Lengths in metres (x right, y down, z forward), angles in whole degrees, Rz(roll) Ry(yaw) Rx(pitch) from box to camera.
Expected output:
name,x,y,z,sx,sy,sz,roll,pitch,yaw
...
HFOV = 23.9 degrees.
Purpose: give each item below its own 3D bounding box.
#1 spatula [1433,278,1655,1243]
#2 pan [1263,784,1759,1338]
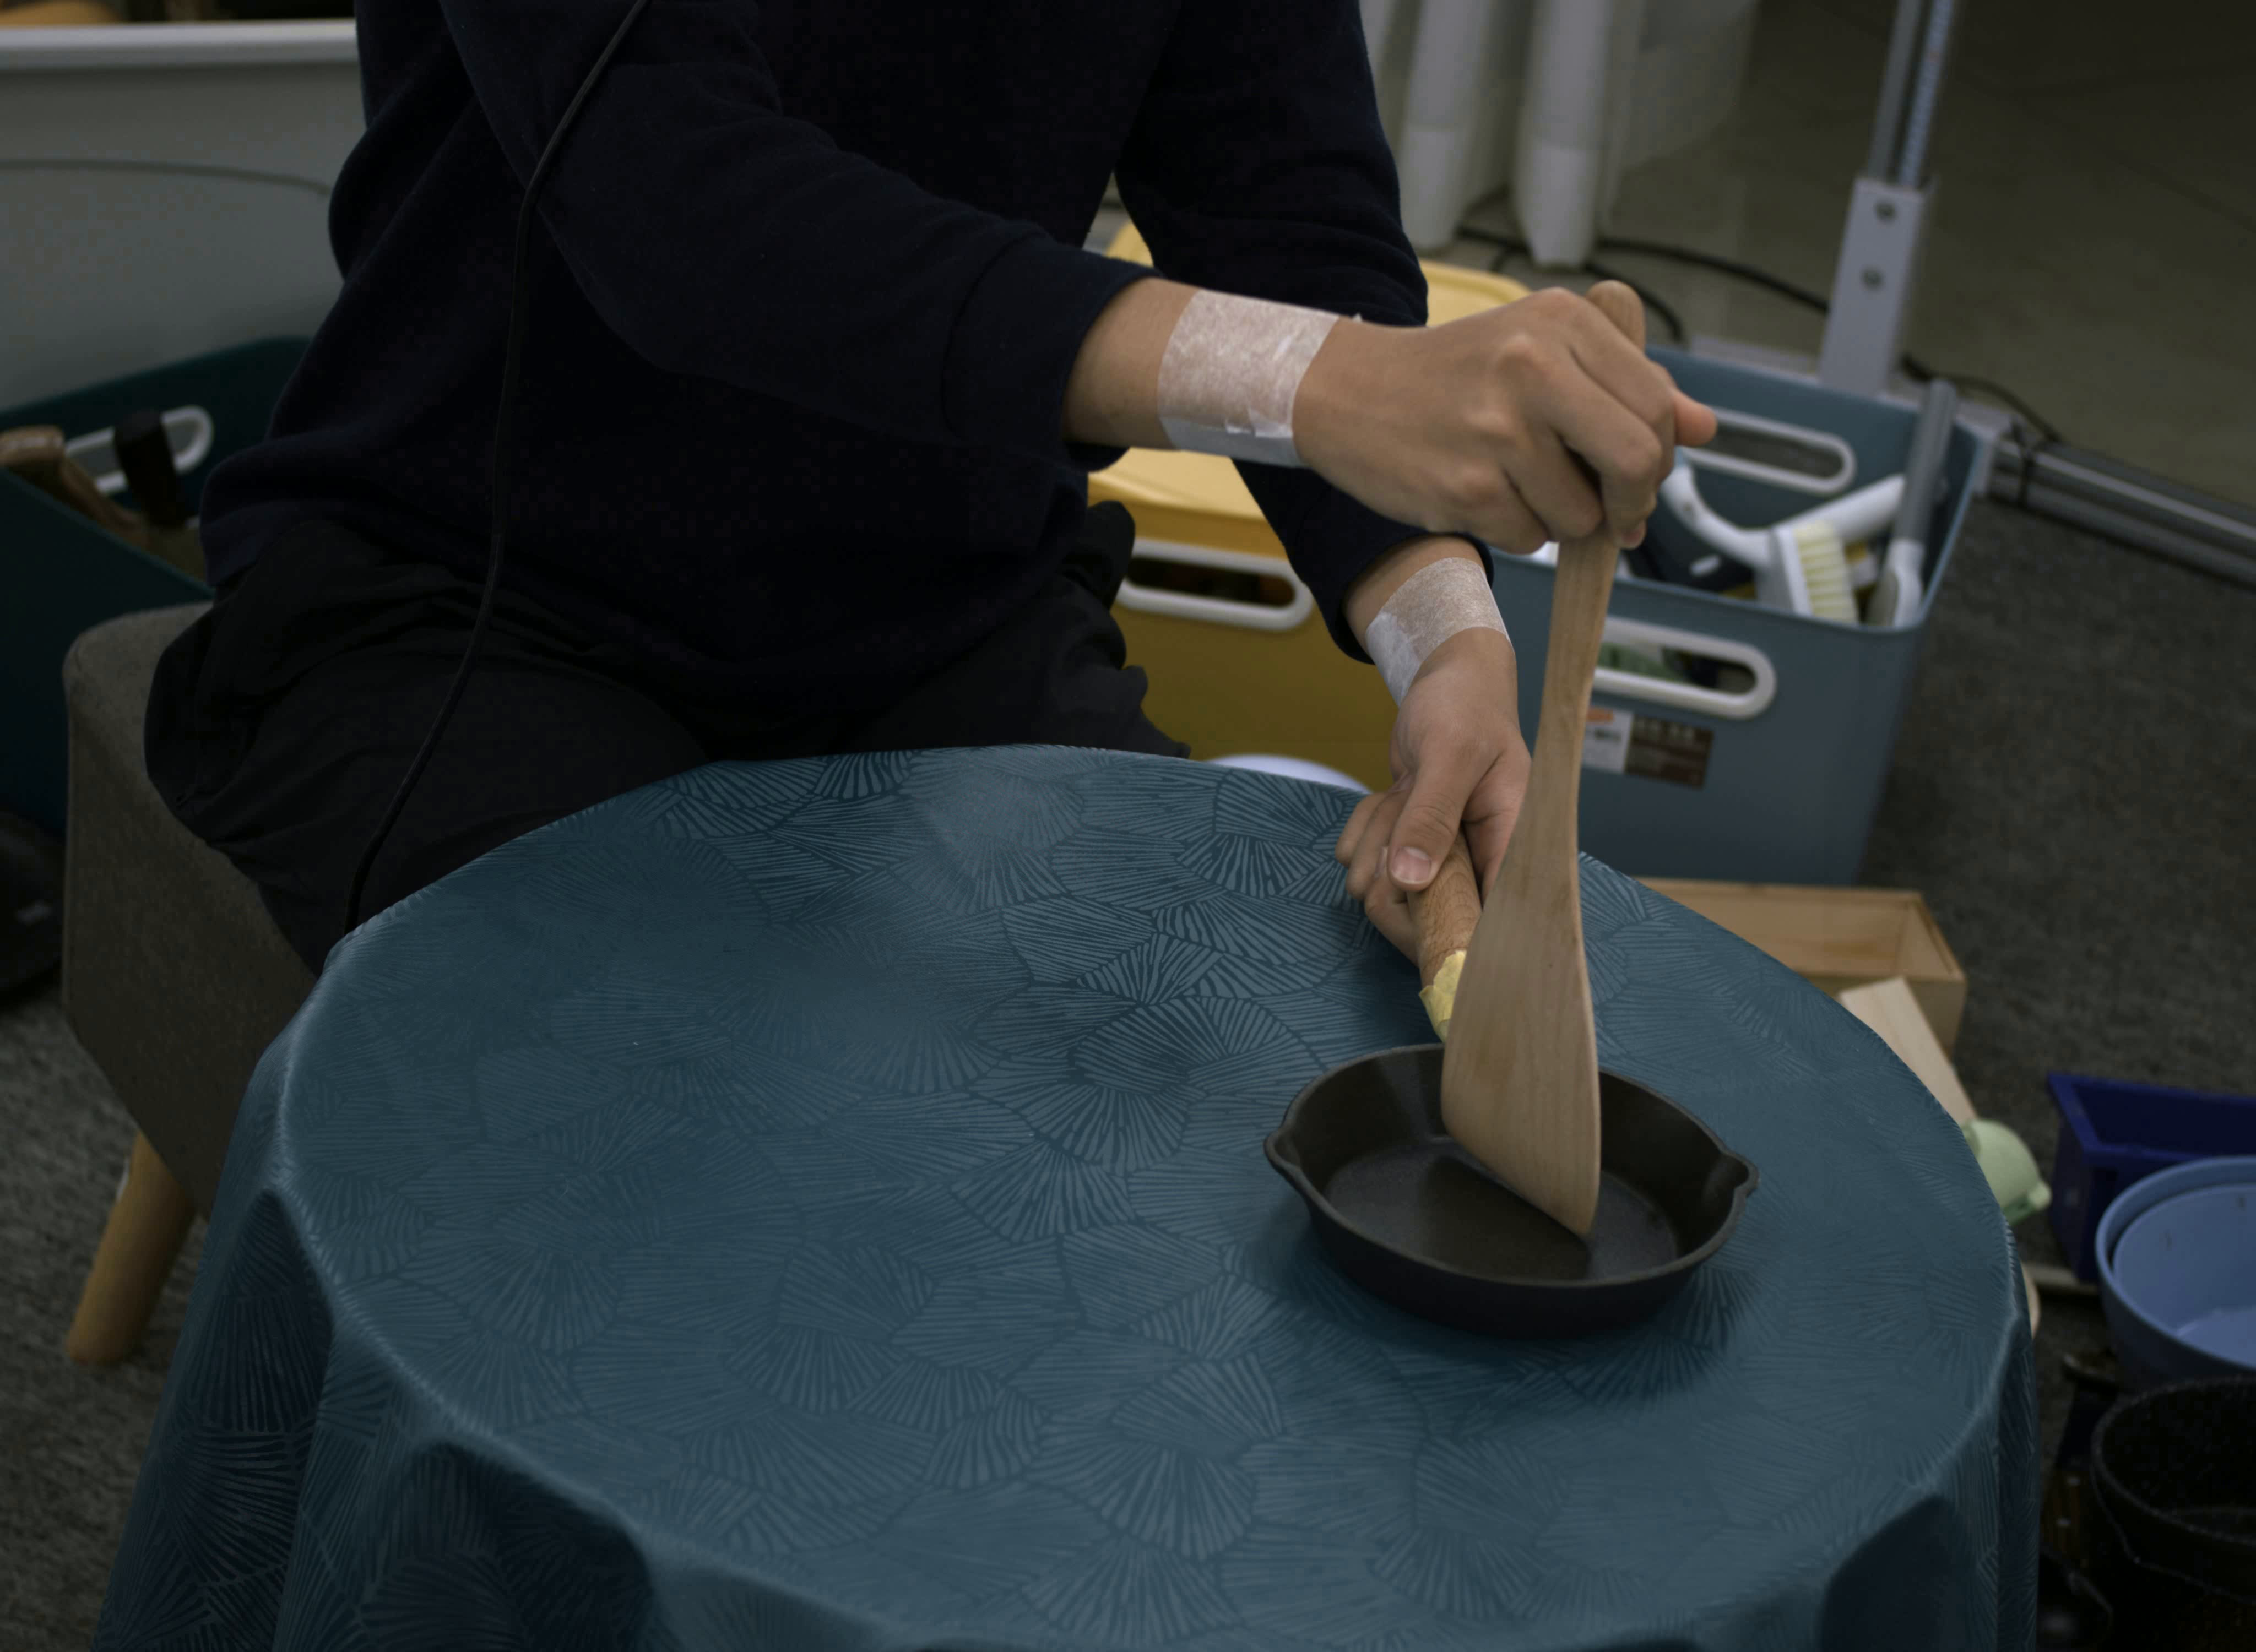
name,x,y,z,sx,sy,sz,roll,pitch,yaw
spatula,0.145,-0.022,1.767,0.016,0.327,0.080,-9,24,-41
pan,0.124,0.079,1.862,0.168,0.049,0.326,4,28,-5
